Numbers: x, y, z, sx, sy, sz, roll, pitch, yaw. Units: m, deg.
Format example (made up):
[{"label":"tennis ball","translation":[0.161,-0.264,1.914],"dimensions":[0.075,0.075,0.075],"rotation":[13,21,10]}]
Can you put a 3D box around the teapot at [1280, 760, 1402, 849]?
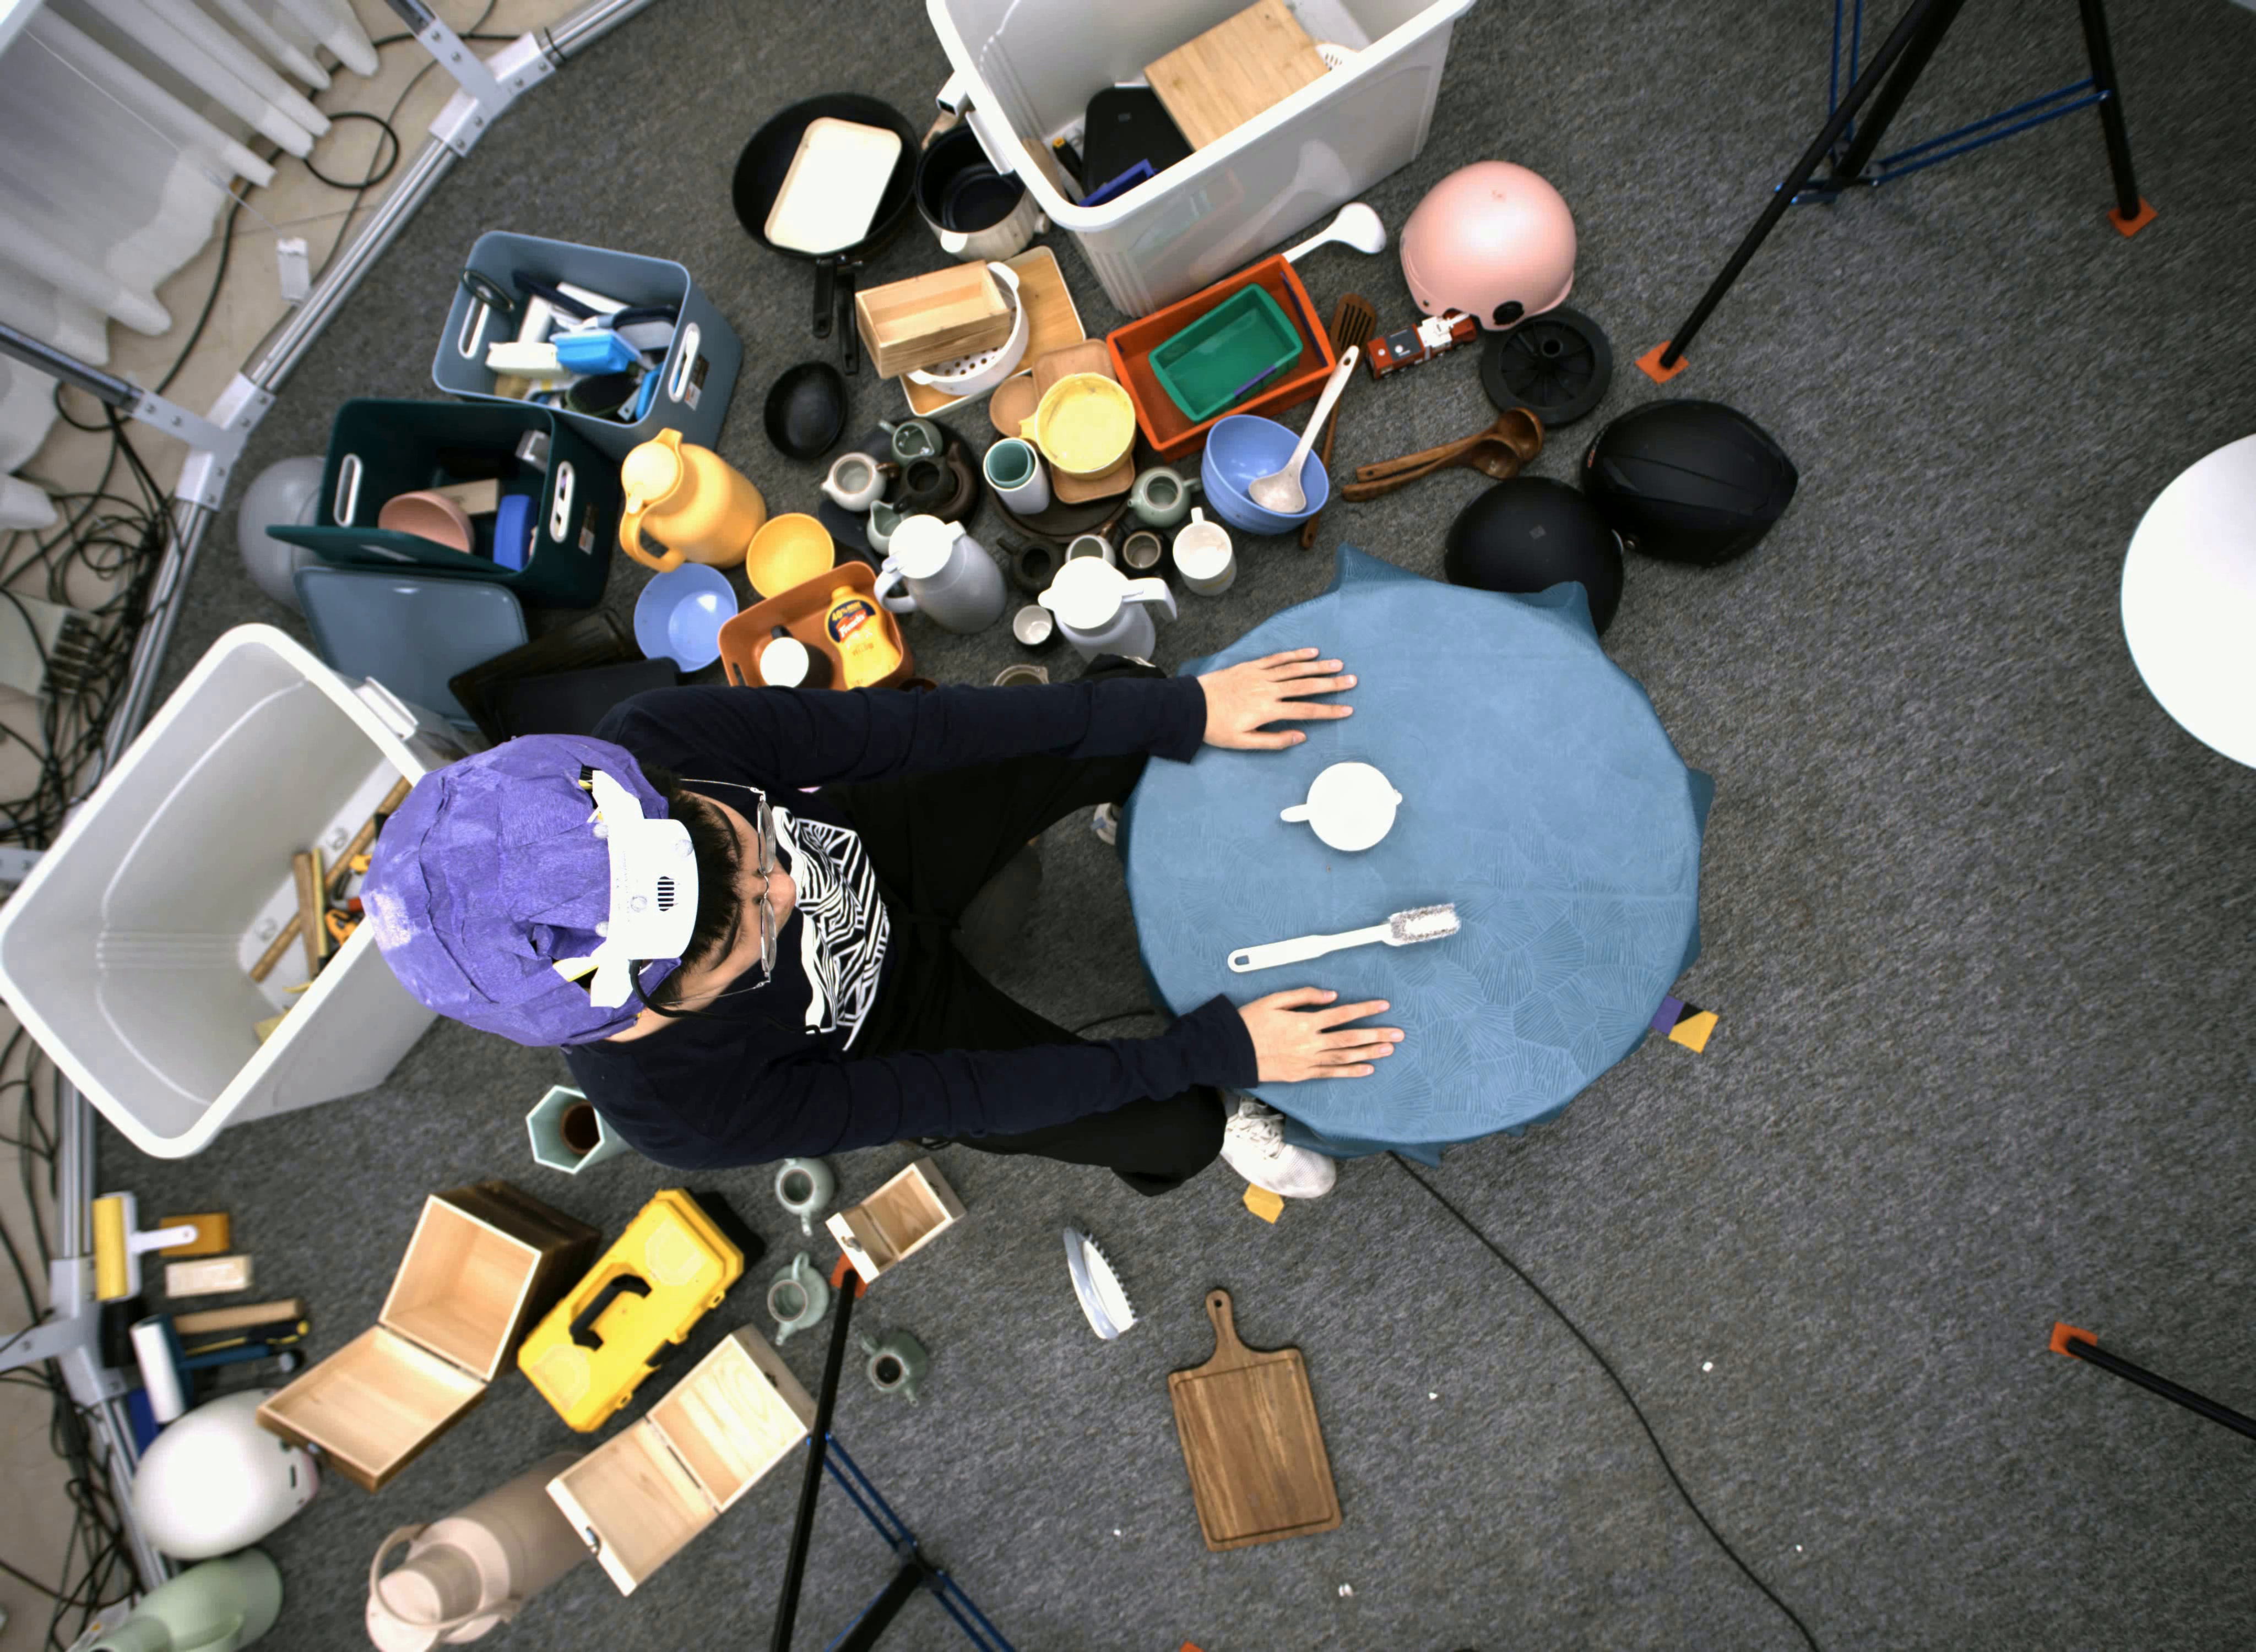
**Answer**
[{"label":"teapot","translation":[0.223,-0.021,1.446],"dimensions":[0.128,0.056,0.093],"rotation":[-11,89,11]}]

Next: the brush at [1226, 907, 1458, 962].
[{"label":"brush","translation":[0.220,0.115,1.442],"dimensions":[0.245,0.050,0.034],"rotation":[-9,88,10]}]
